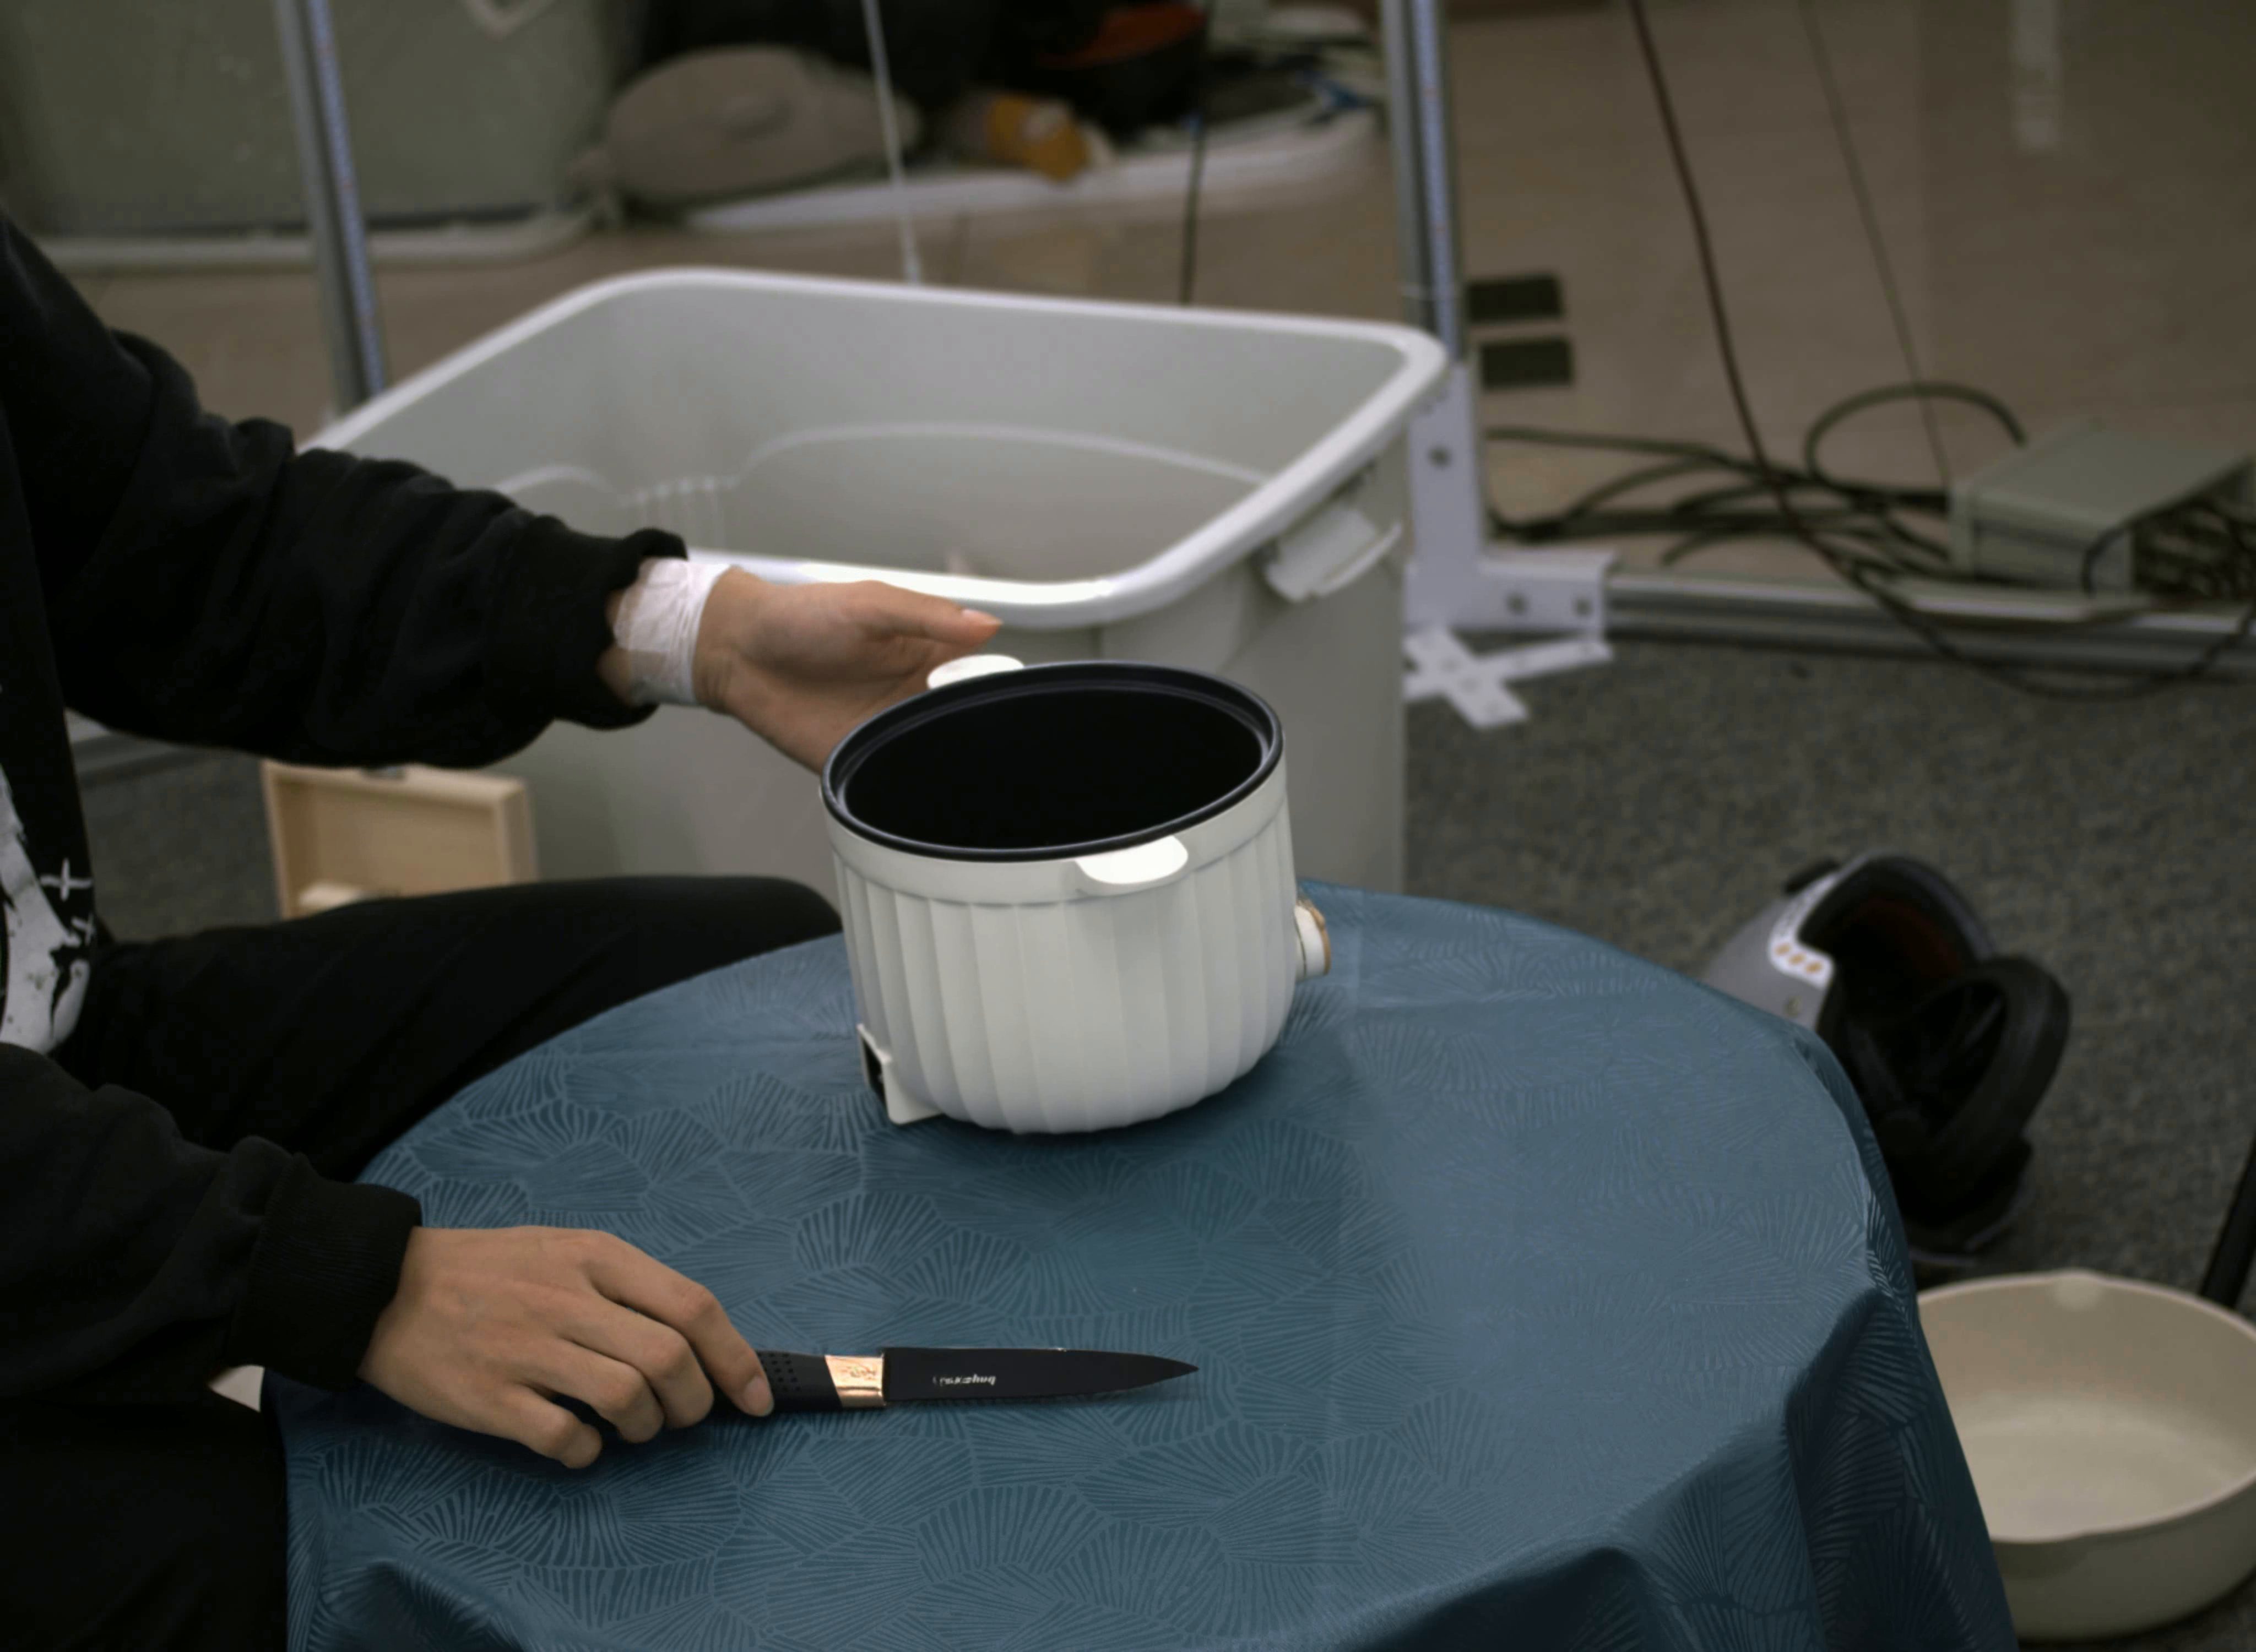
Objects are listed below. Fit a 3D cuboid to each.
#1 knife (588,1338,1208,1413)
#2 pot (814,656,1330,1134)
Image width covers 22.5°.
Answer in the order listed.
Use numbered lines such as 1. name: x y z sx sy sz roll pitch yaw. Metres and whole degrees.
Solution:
1. knife: -0.083 0.195 2.028 0.225 0.017 0.026 -3 44 10
2. pot: -0.019 0.030 2.221 0.190 0.145 0.237 -16 28 -14
